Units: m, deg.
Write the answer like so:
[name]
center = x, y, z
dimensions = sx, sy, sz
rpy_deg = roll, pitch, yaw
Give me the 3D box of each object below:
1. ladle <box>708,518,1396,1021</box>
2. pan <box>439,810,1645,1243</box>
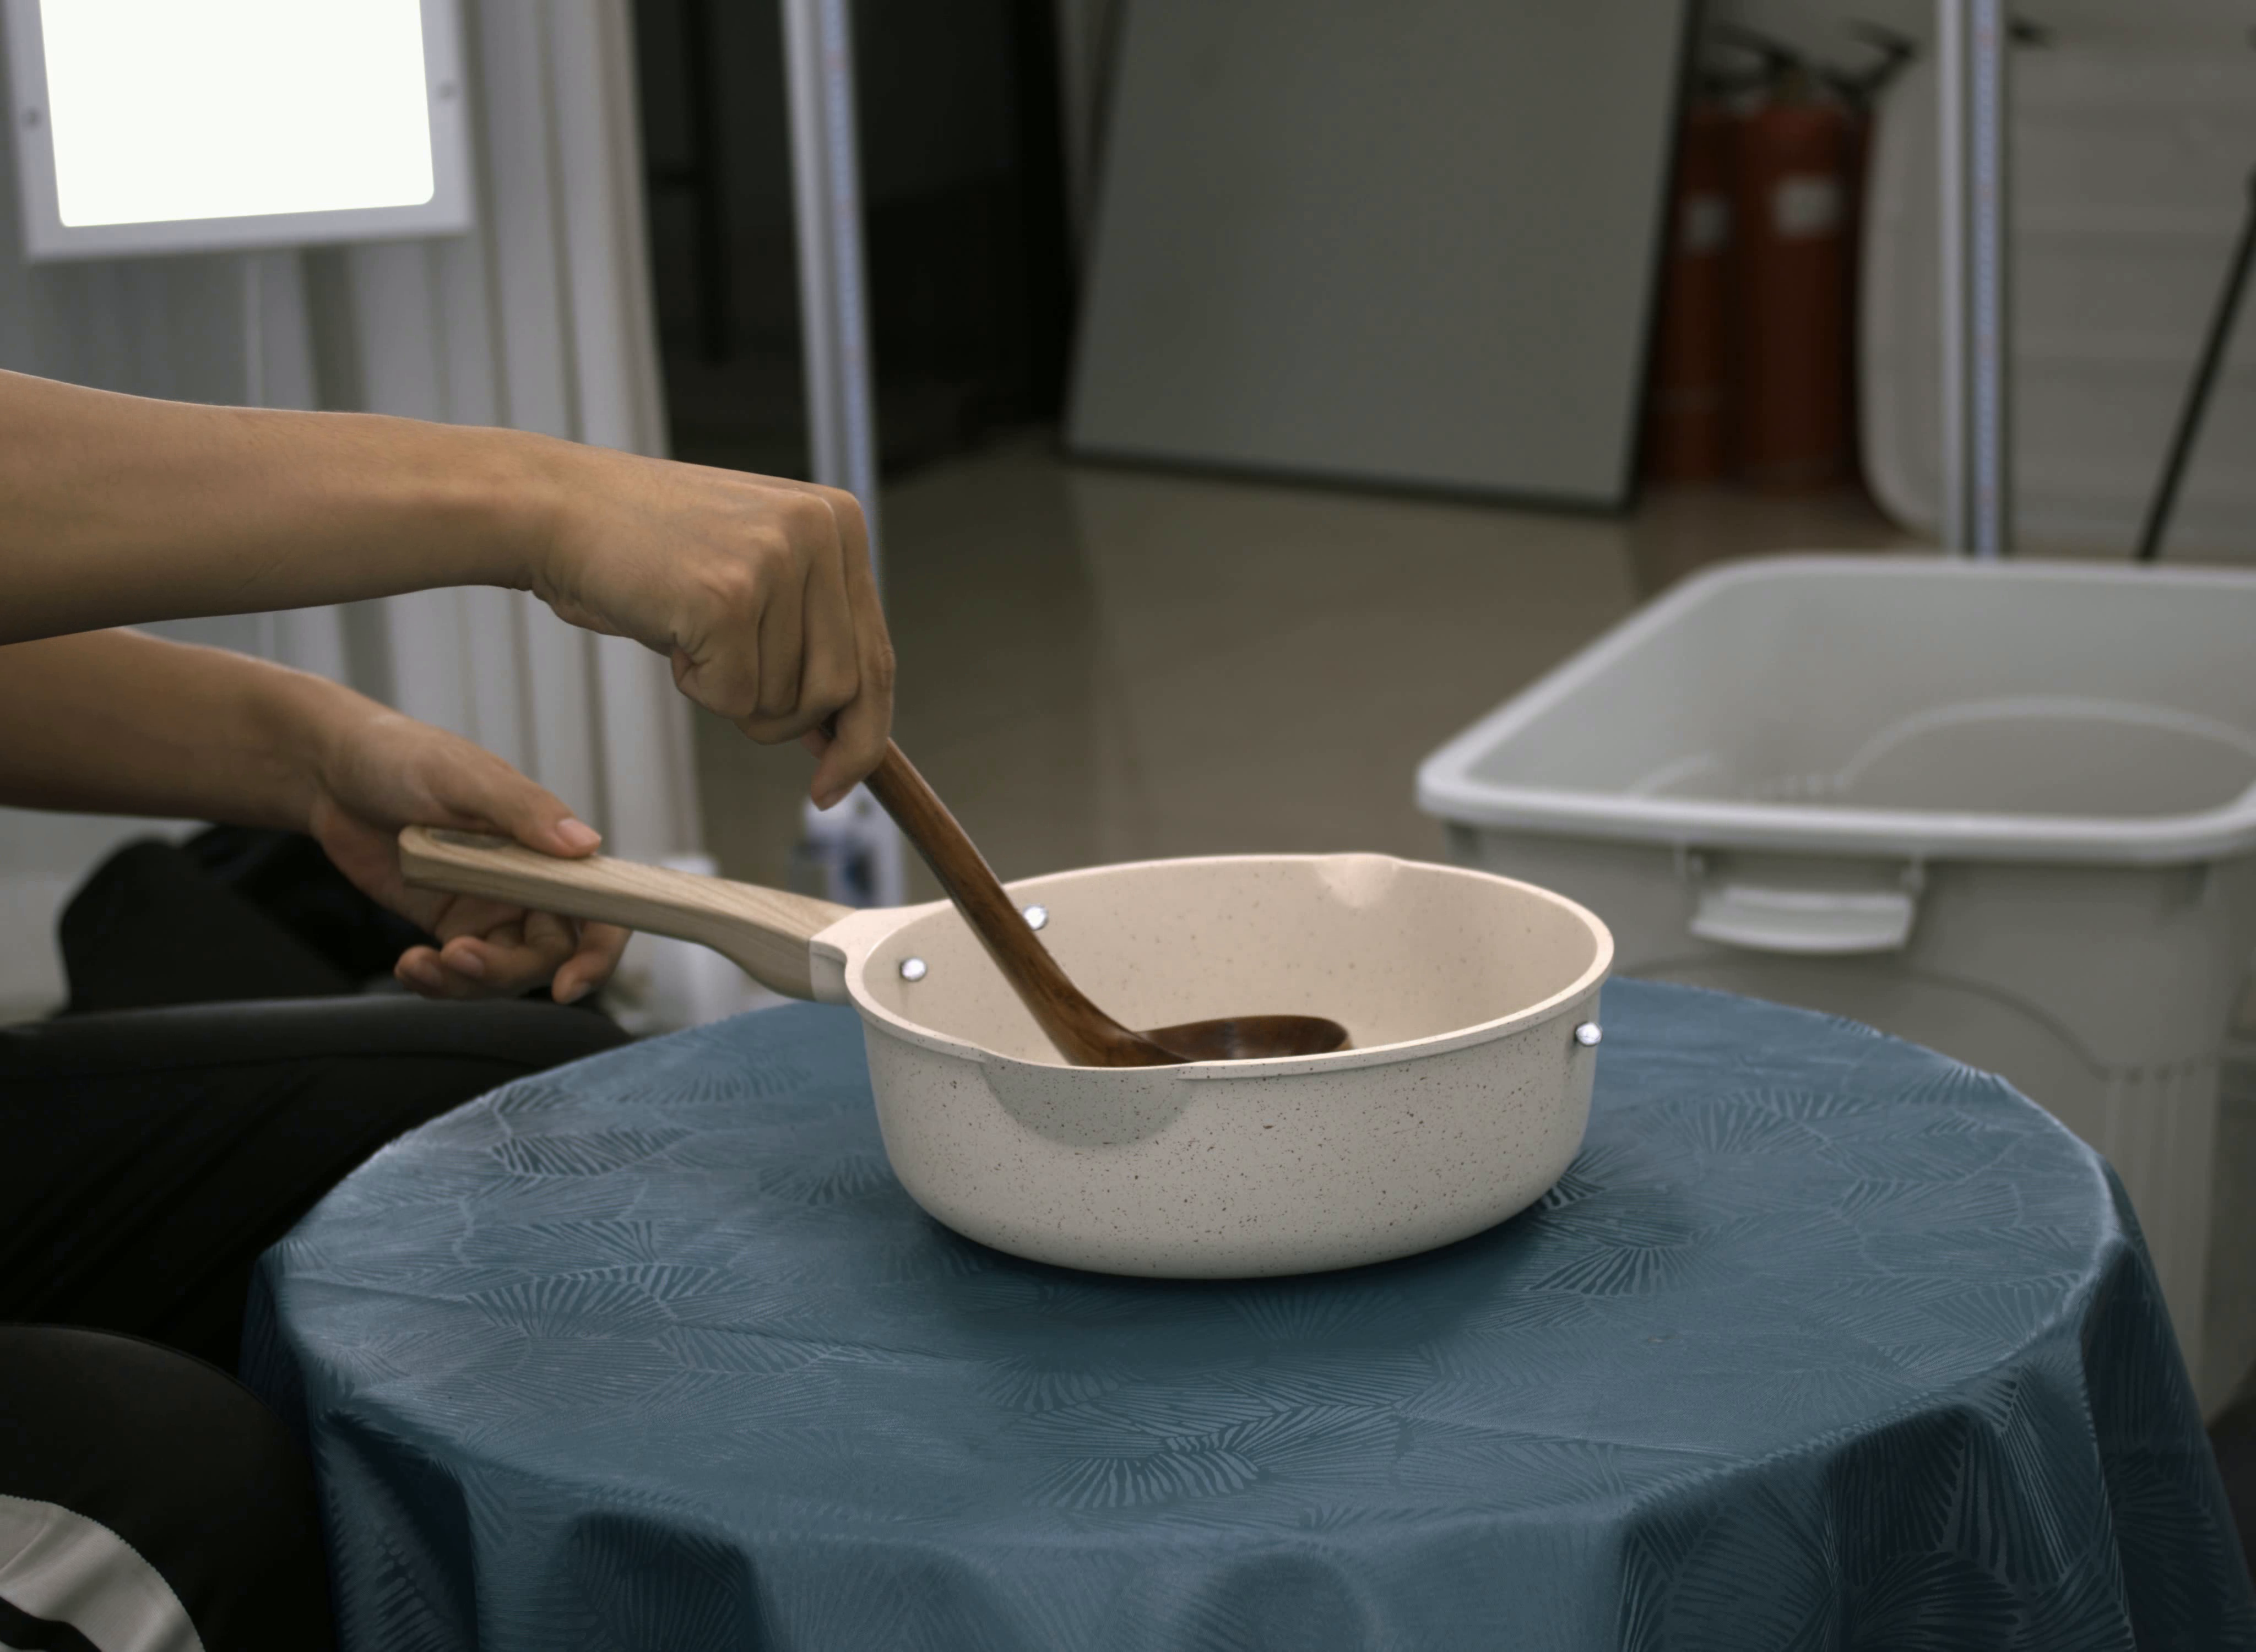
[ladle]
center = -0.017, -0.013, 1.671
dimensions = 0.076, 0.273, 0.083
rpy_deg = -46, 20, -18
[pan]
center = -0.036, 0.057, 1.813
dimensions = 0.435, 0.103, 0.260
rpy_deg = 2, 16, 25
